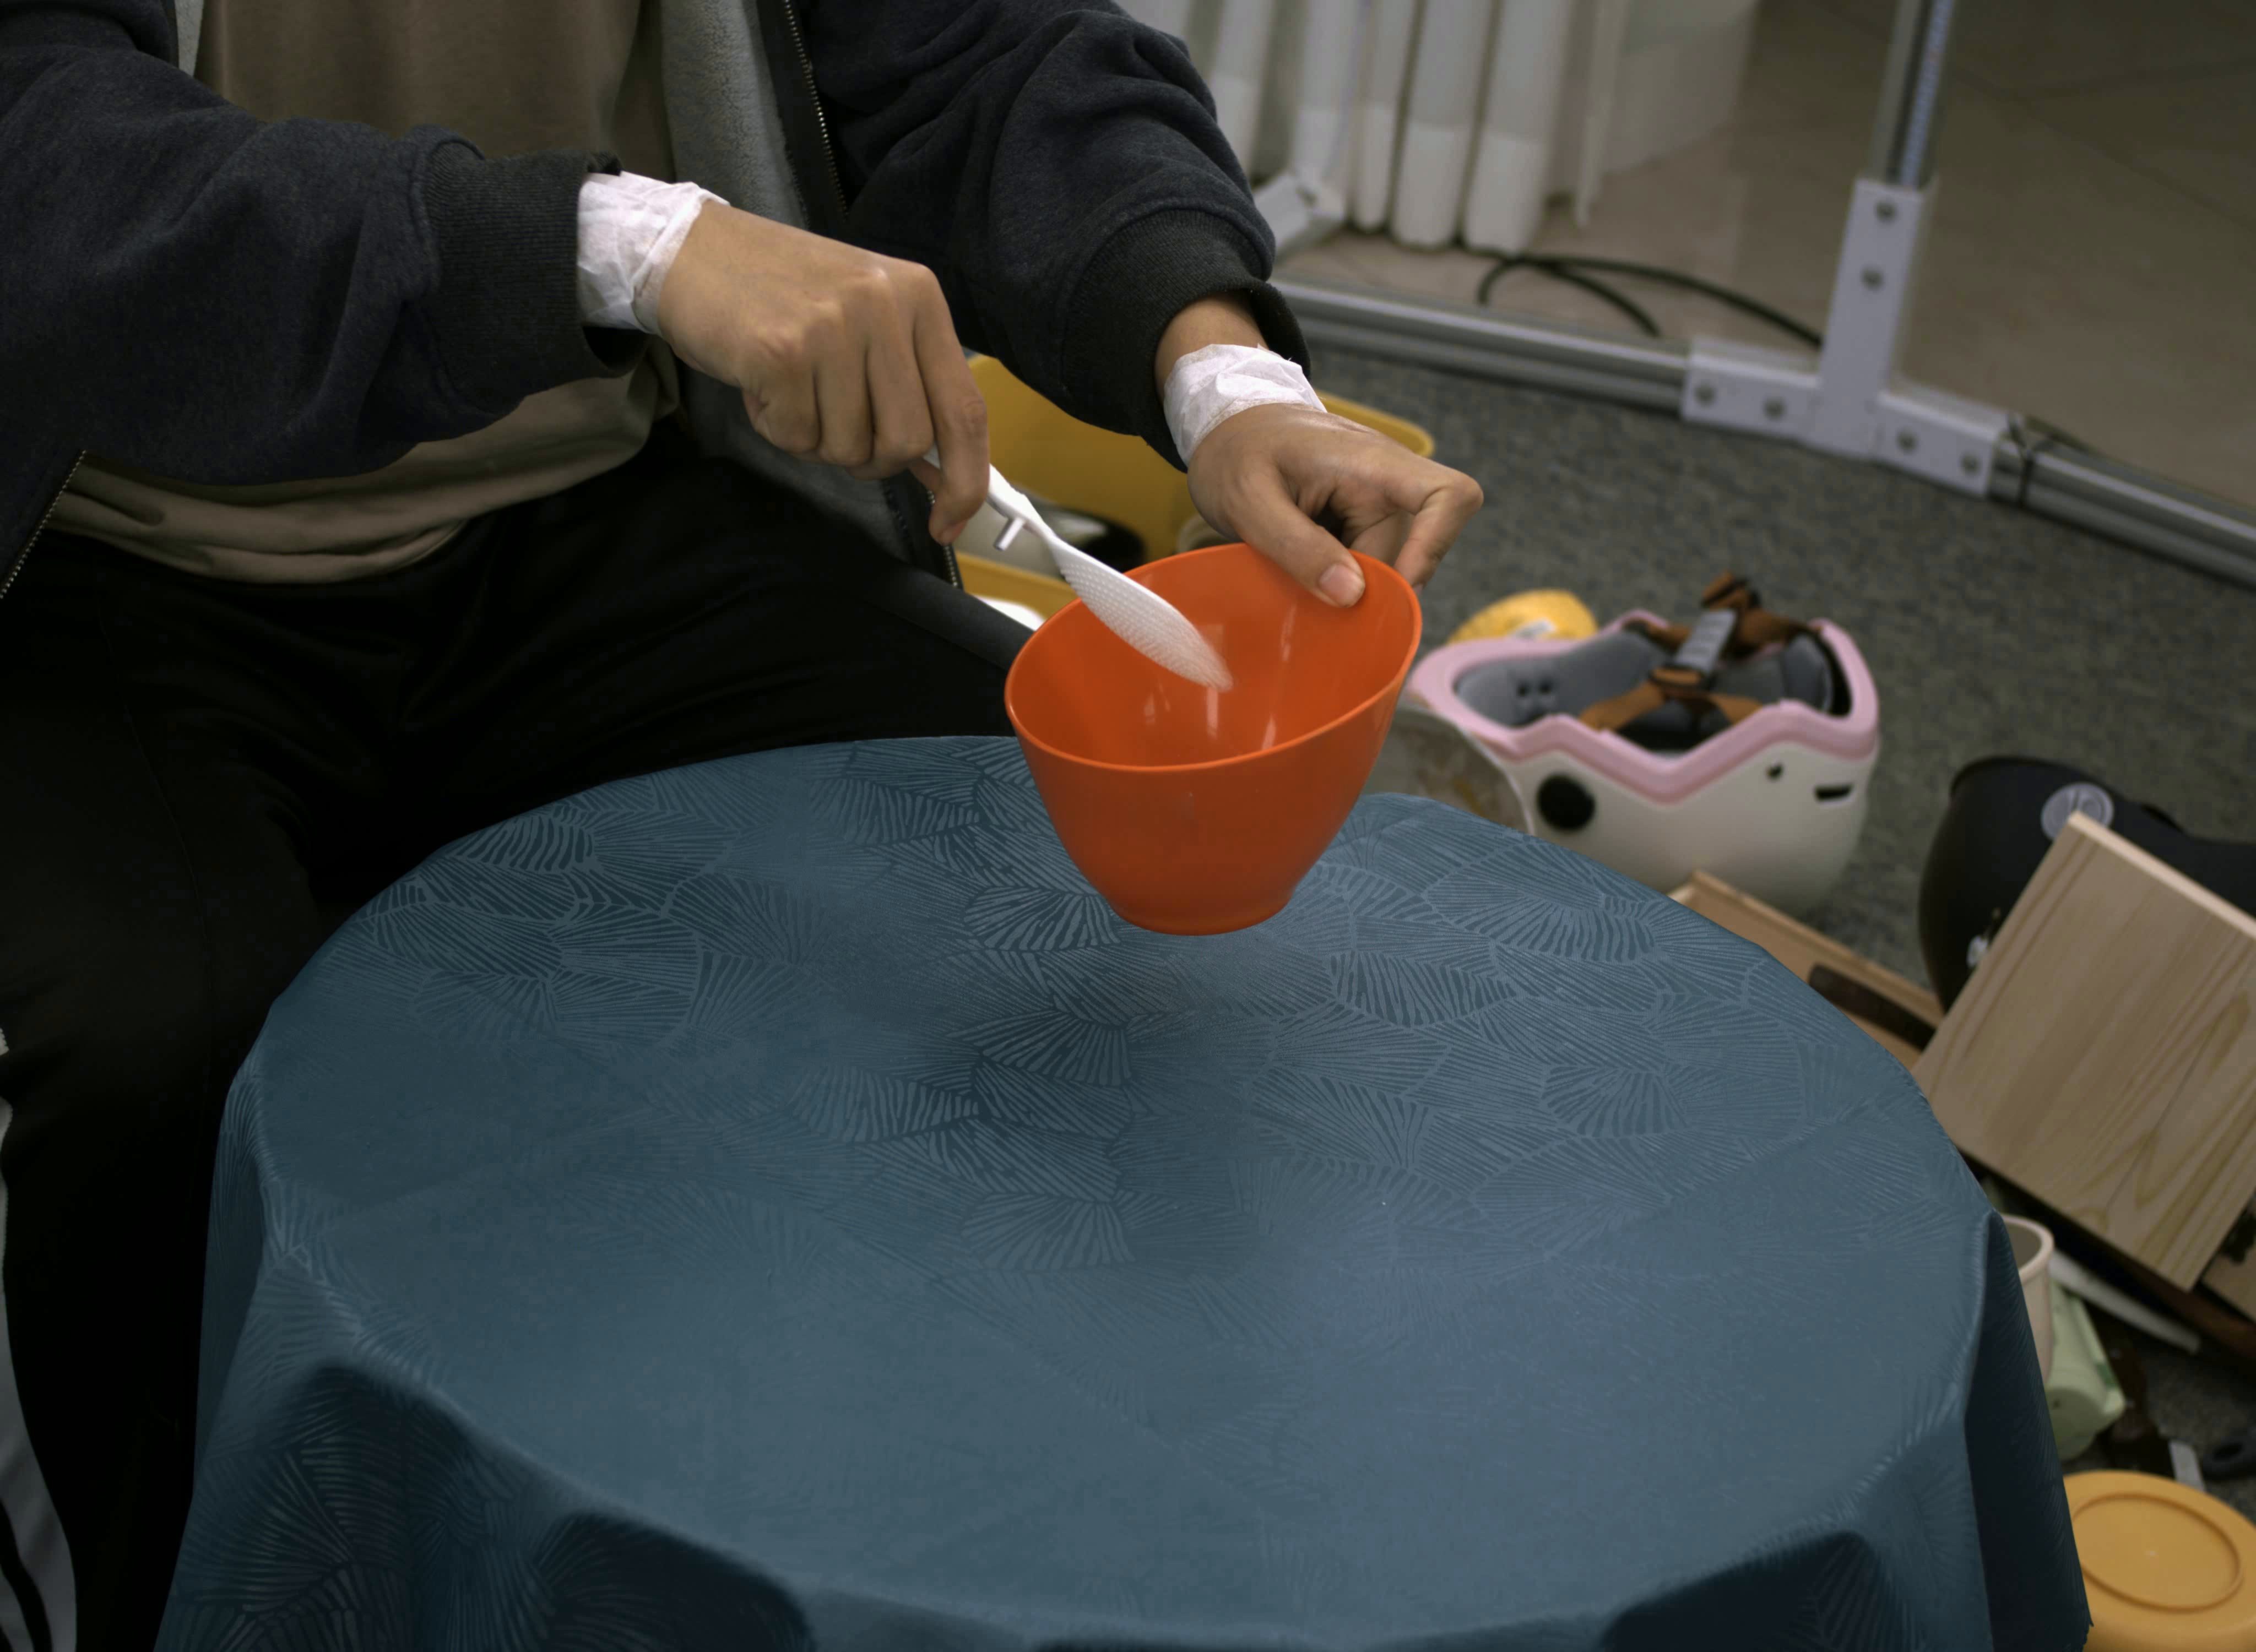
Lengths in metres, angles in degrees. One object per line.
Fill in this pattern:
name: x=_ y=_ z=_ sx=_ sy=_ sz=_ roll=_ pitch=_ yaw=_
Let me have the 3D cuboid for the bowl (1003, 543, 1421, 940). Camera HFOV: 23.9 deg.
bowl: x=0.032 y=-0.024 z=1.876 sx=0.147 sy=0.104 sz=0.149 roll=-3 pitch=28 yaw=1

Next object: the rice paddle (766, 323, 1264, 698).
rice paddle: x=-0.033 y=-0.104 z=1.842 sx=0.204 sy=0.029 sz=0.069 roll=35 pitch=-3 yaw=-12
